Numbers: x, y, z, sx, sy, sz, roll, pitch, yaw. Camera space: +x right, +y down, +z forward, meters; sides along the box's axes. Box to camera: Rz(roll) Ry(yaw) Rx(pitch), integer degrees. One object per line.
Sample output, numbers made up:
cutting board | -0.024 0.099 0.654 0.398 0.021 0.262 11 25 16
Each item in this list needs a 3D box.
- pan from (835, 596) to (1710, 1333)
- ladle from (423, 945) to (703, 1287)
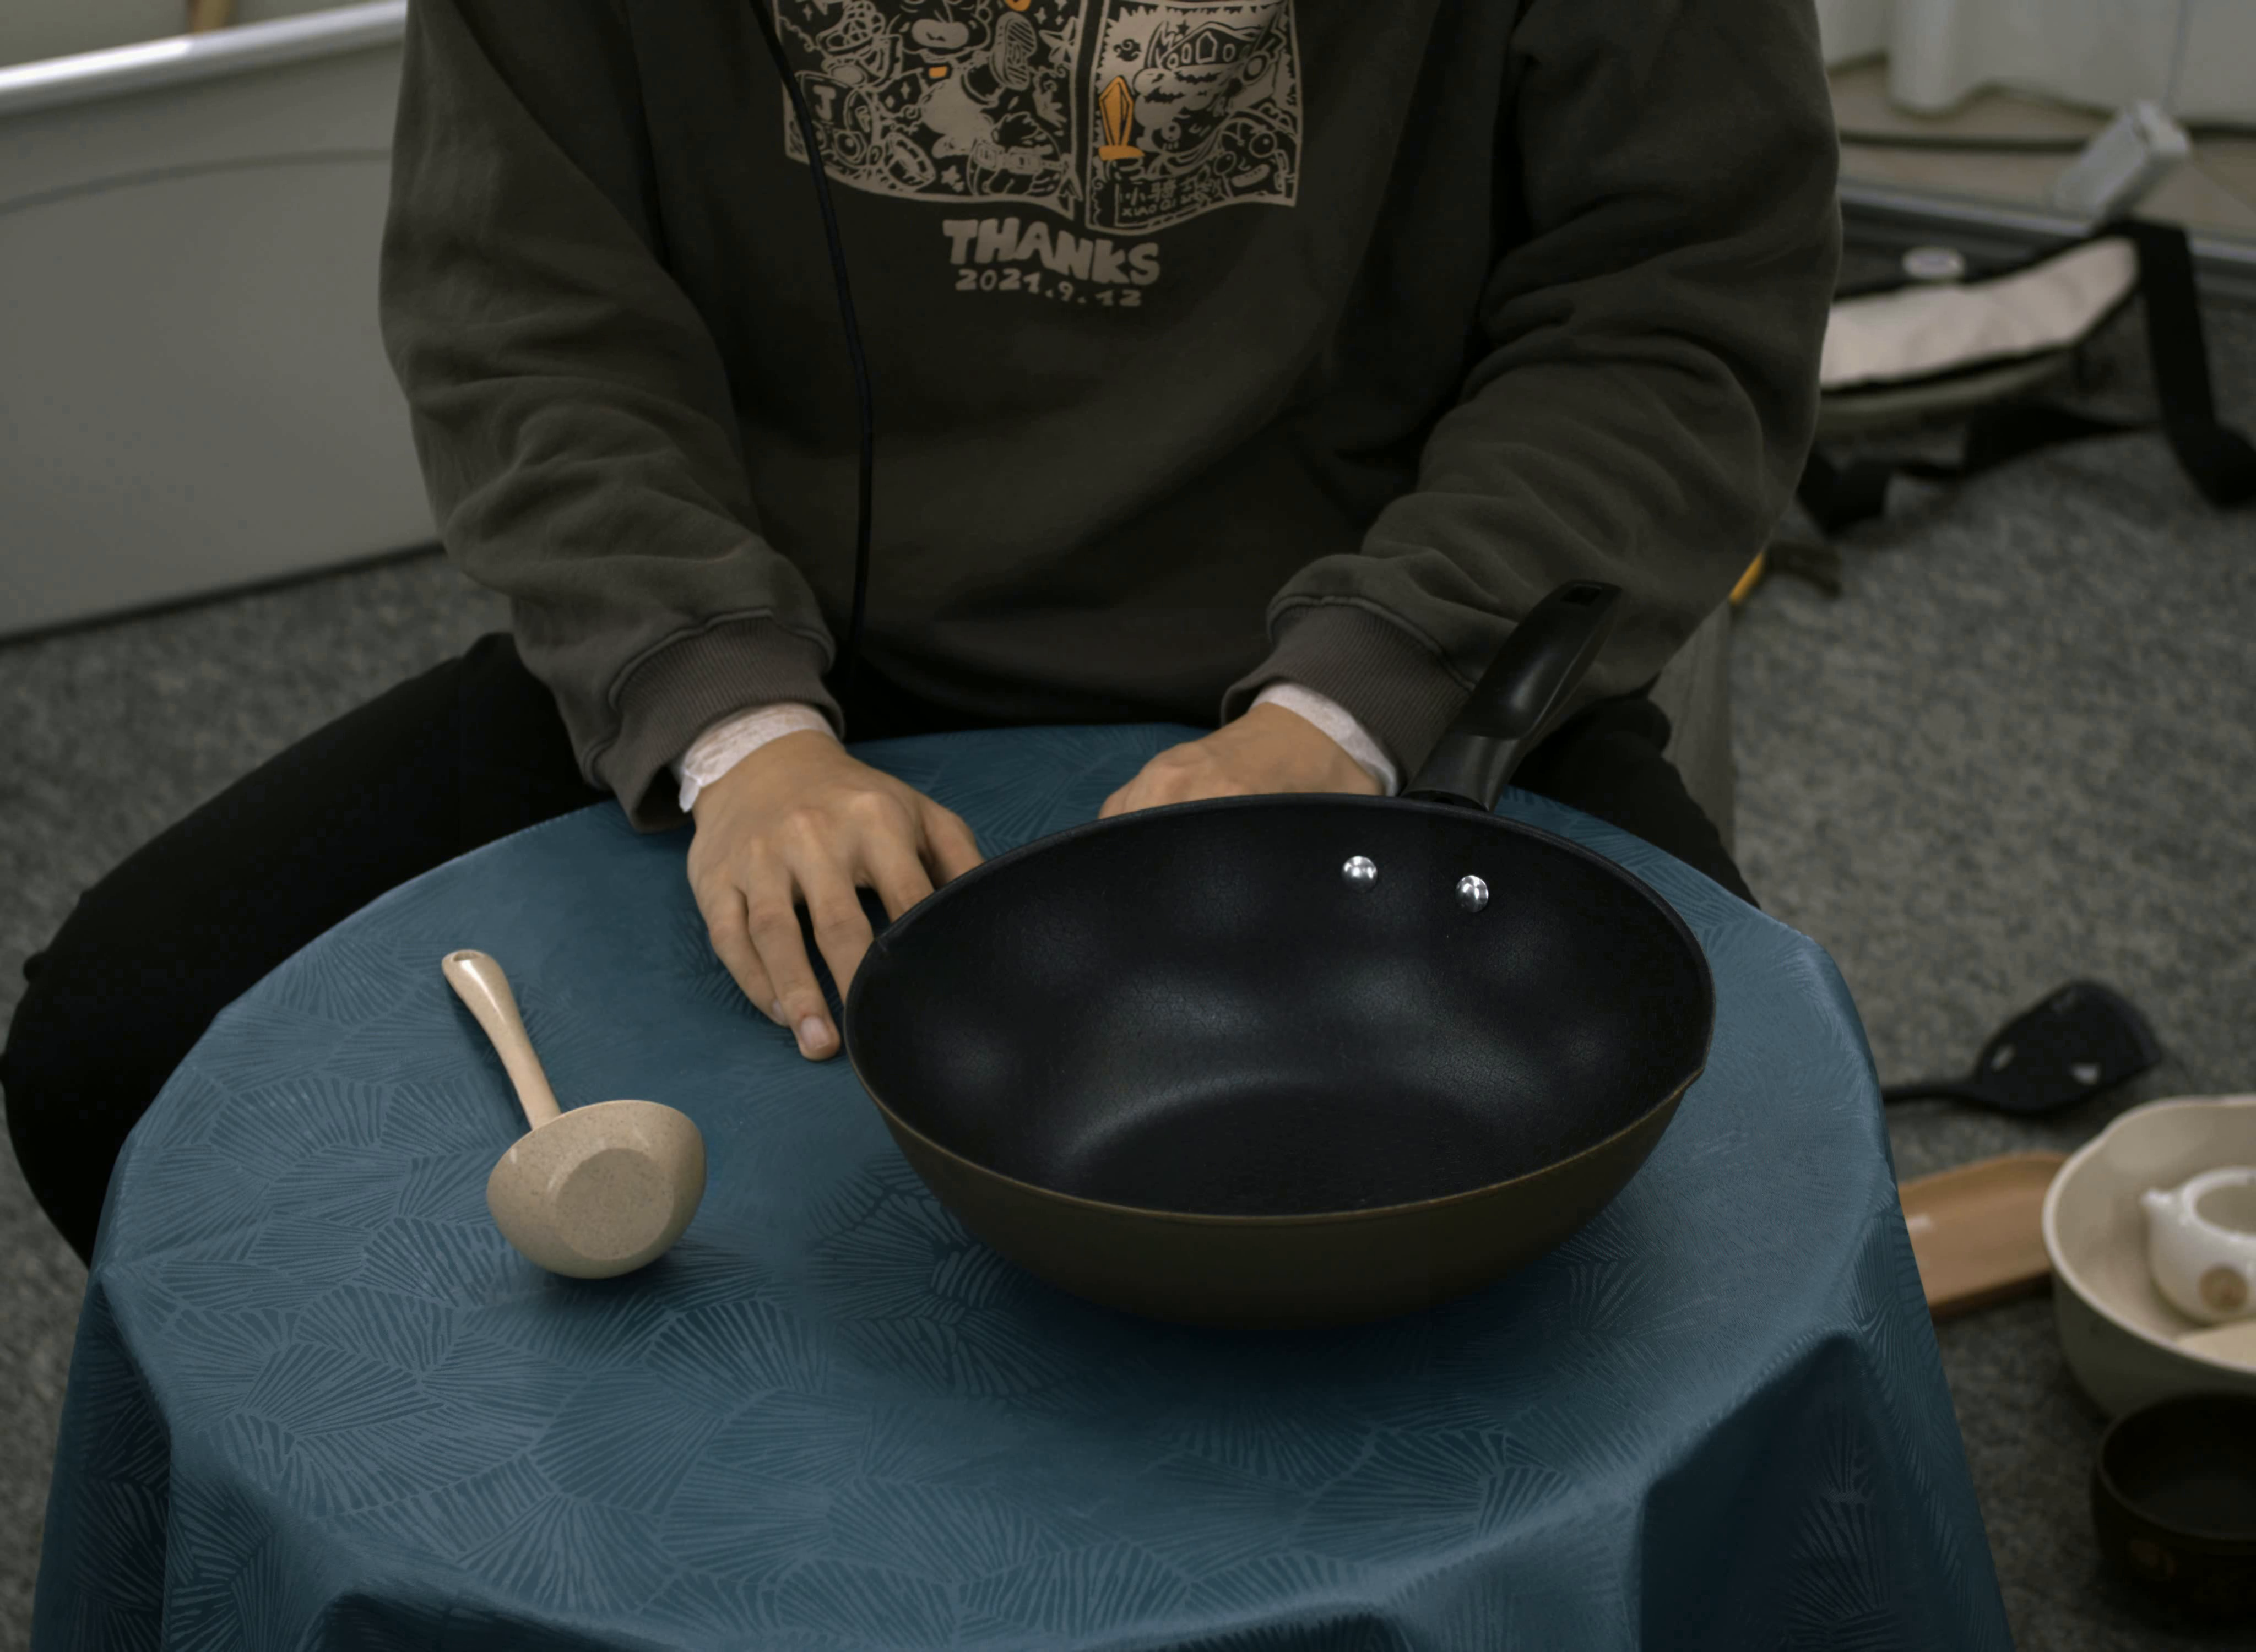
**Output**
pan | 0.084 0.047 1.905 0.286 0.086 0.471 9 29 21
ladle | -0.207 0.072 1.898 0.072 0.072 0.257 -17 32 -14
